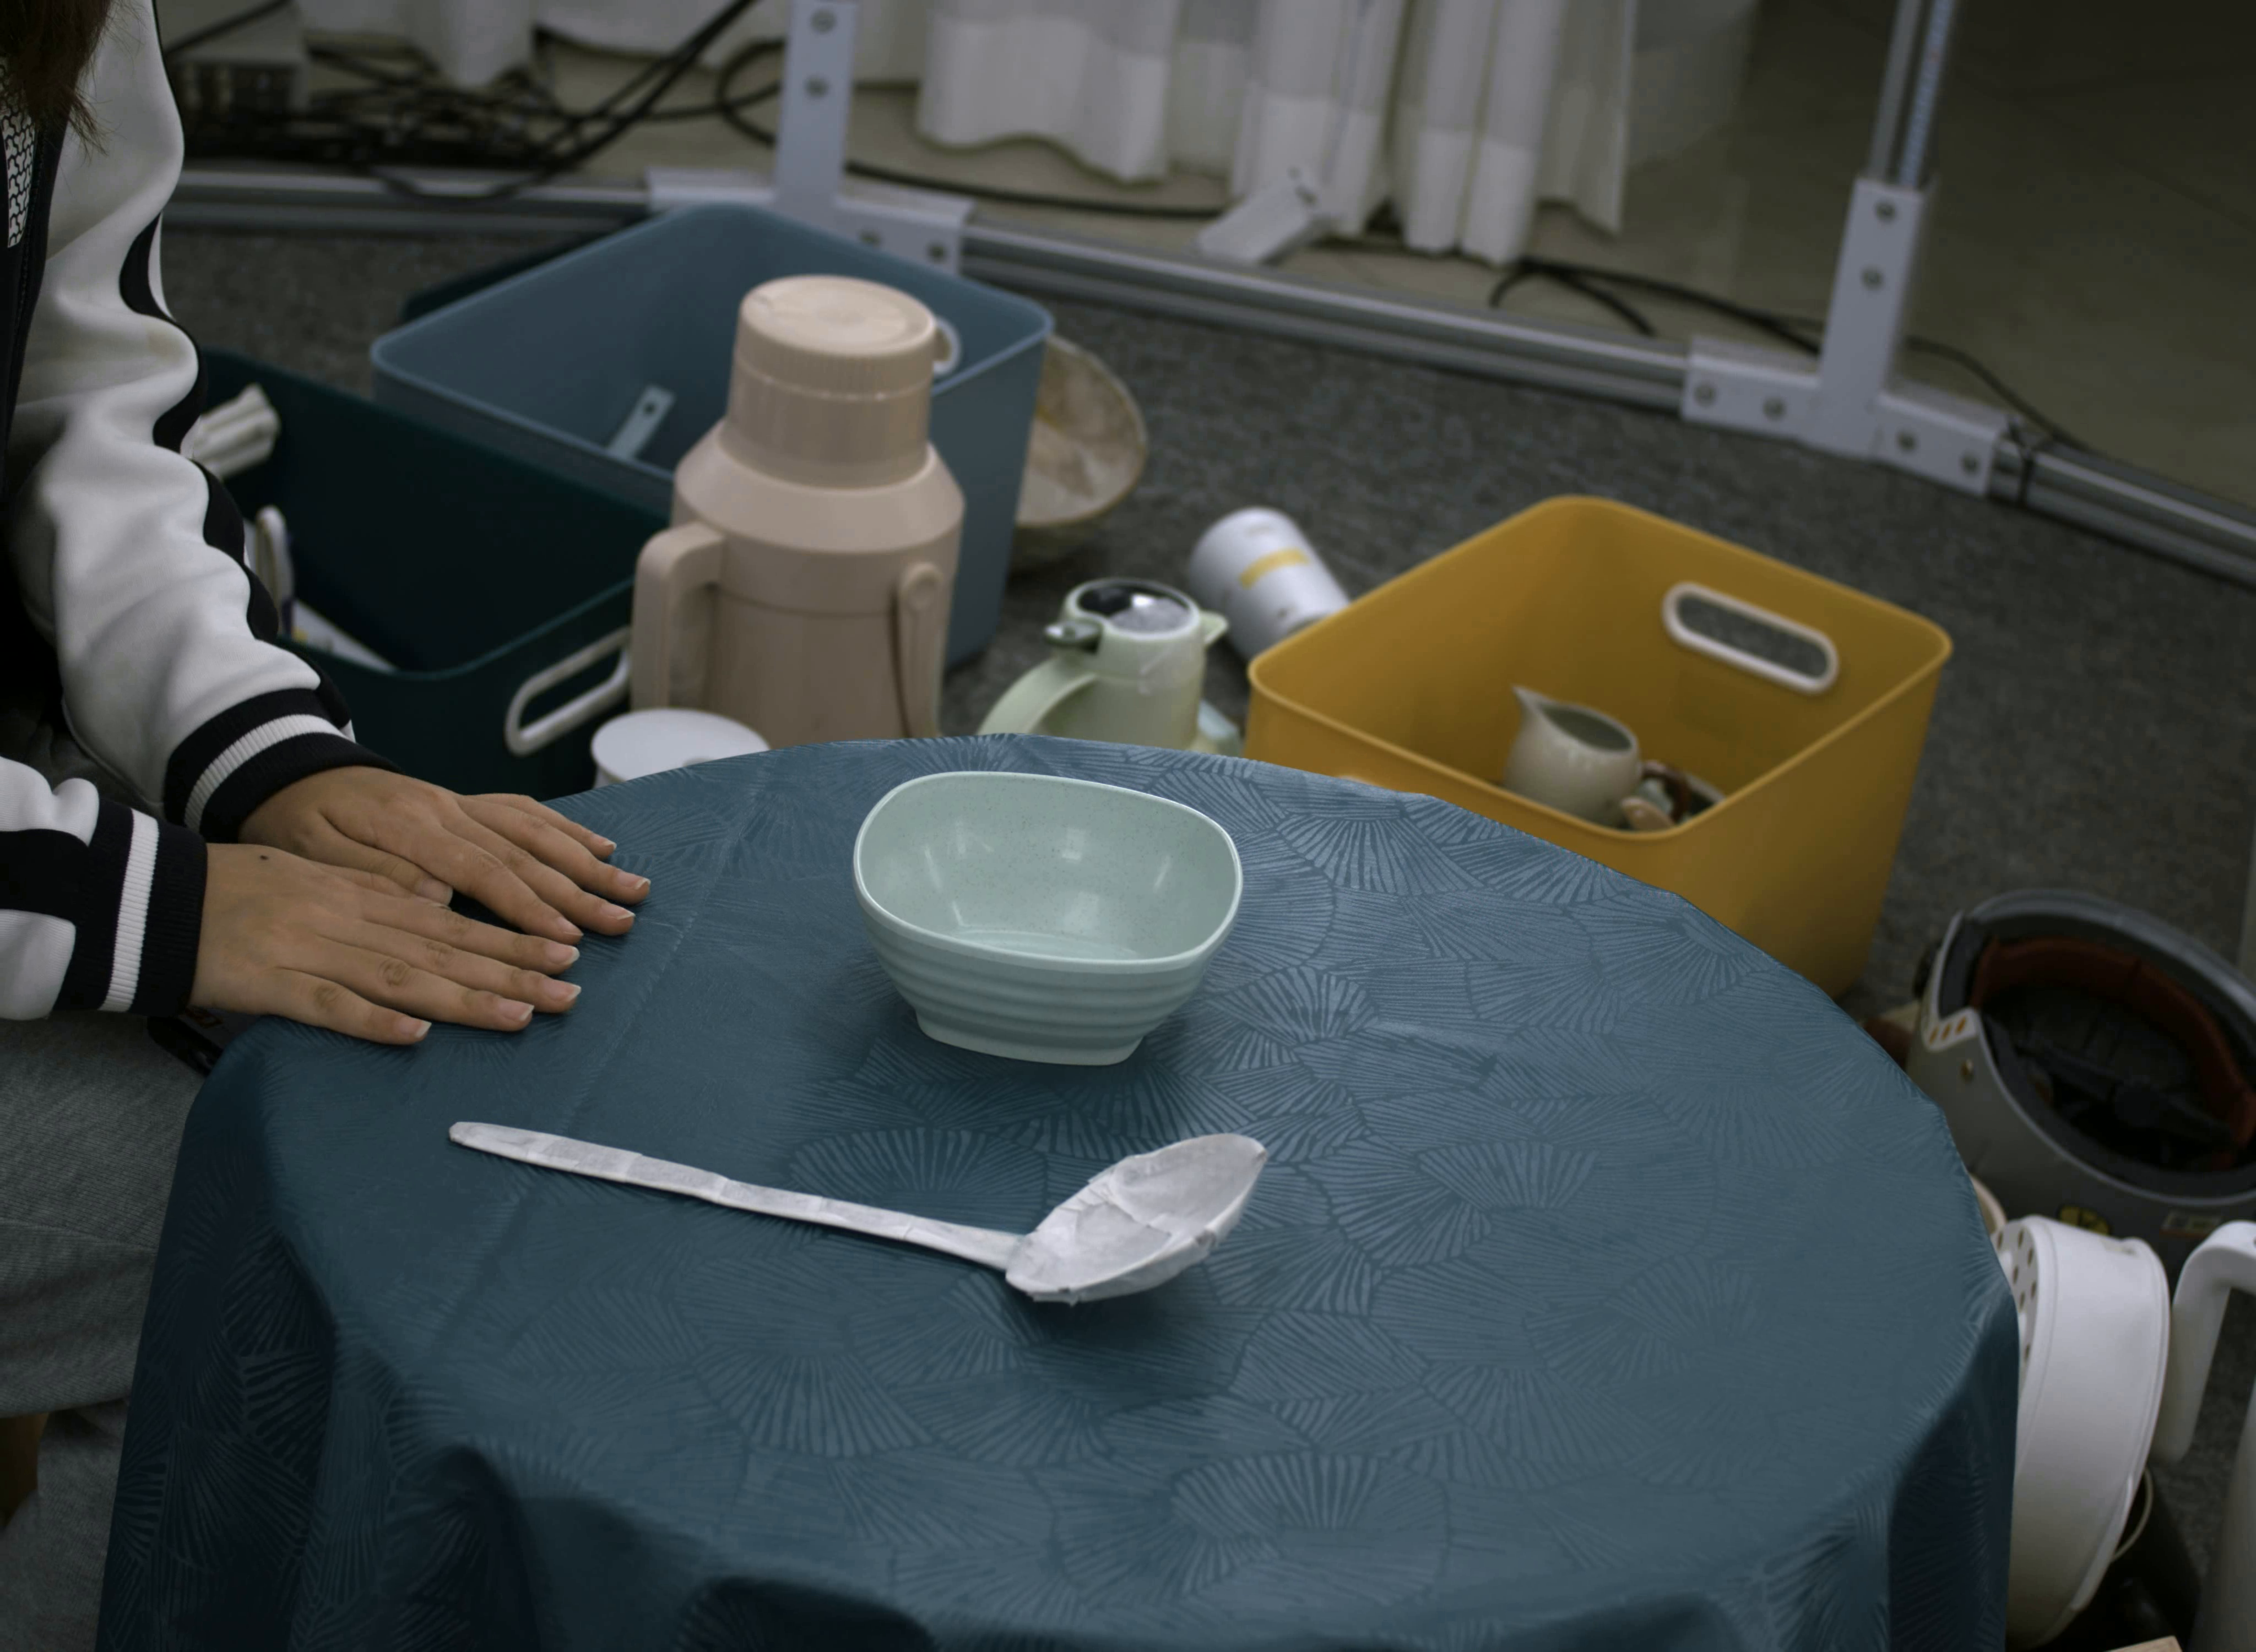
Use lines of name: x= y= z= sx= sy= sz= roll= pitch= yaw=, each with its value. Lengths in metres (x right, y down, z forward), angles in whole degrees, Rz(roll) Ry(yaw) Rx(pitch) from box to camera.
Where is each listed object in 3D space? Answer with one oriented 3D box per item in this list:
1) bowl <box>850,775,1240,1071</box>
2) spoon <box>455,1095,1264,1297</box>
bowl: x=-0.032 y=0.040 z=1.900 sx=0.151 sy=0.058 sz=0.152 roll=5 pitch=27 yaw=-3
spoon: x=-0.091 y=0.102 z=1.760 sx=0.278 sy=0.059 sz=0.101 roll=14 pitch=24 yaw=13
